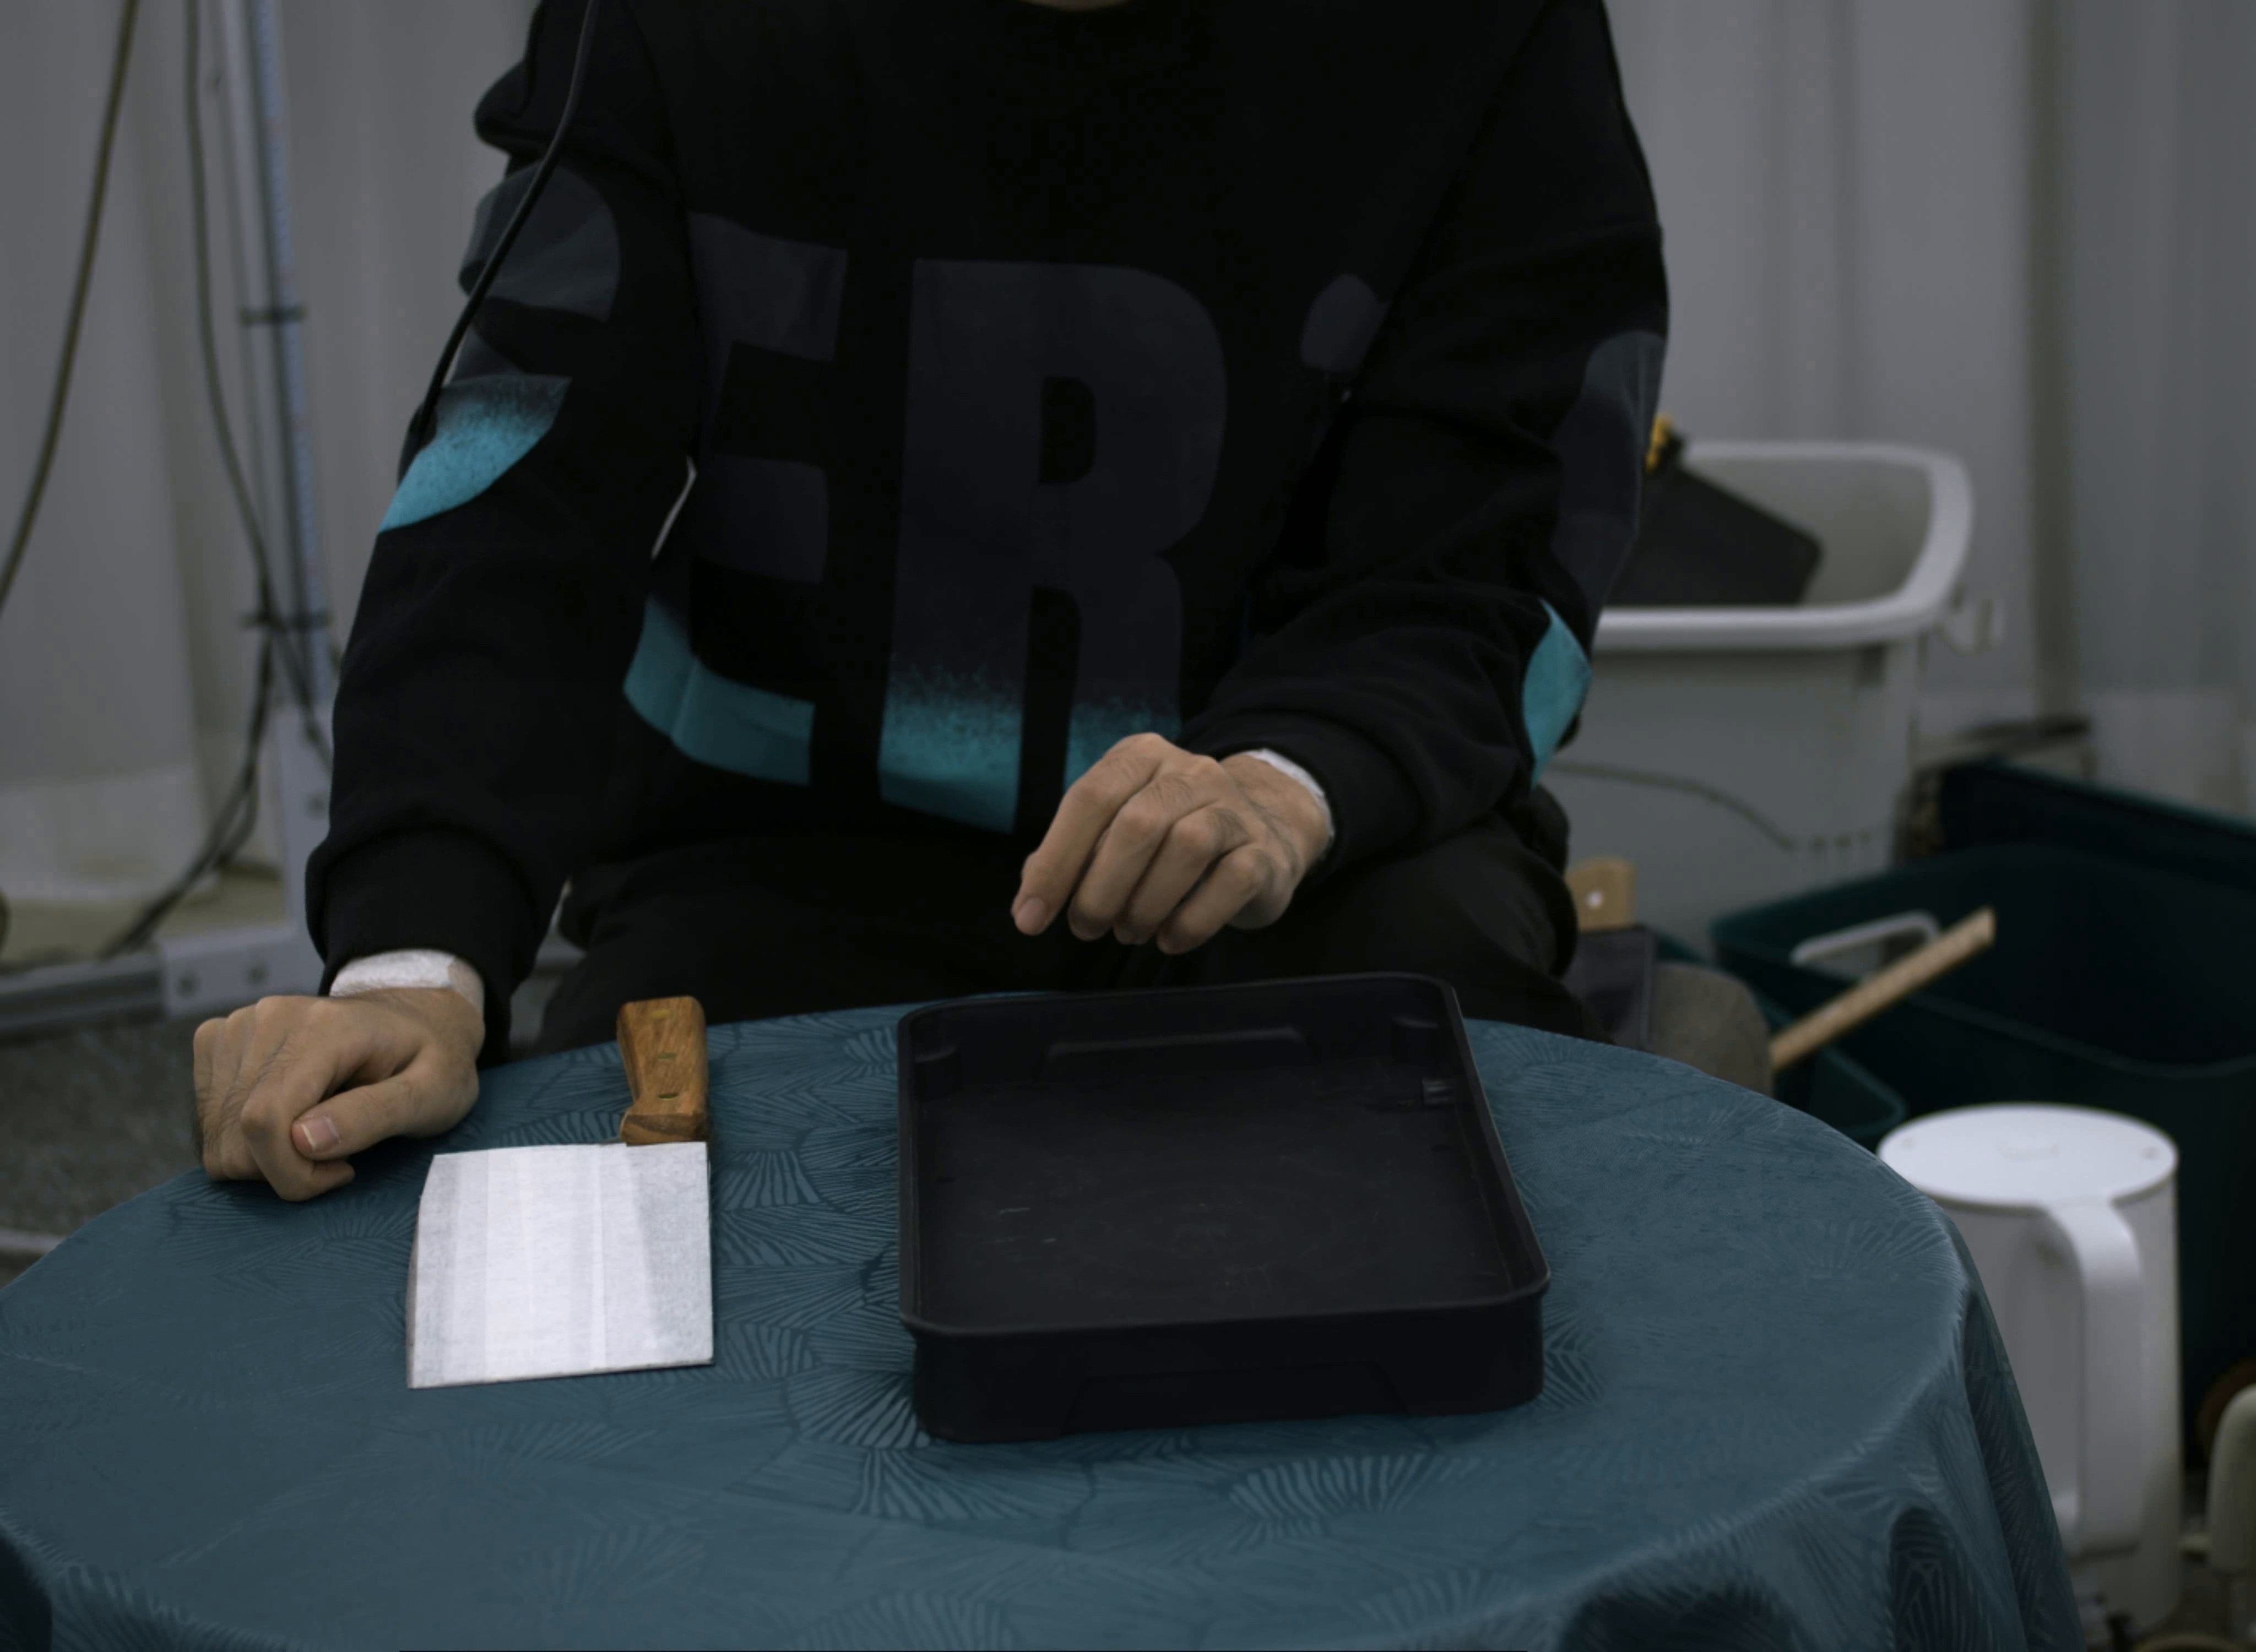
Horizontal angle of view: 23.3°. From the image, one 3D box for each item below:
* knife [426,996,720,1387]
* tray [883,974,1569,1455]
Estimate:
[{"bbox_3d":[-0.175,0.114,1.725,0.092,0.021,0.308,-5,17,-3],"label":"knife"},{"bbox_3d":[0.022,0.112,1.653,0.183,0.037,0.320,-4,15,-3],"label":"tray"}]
